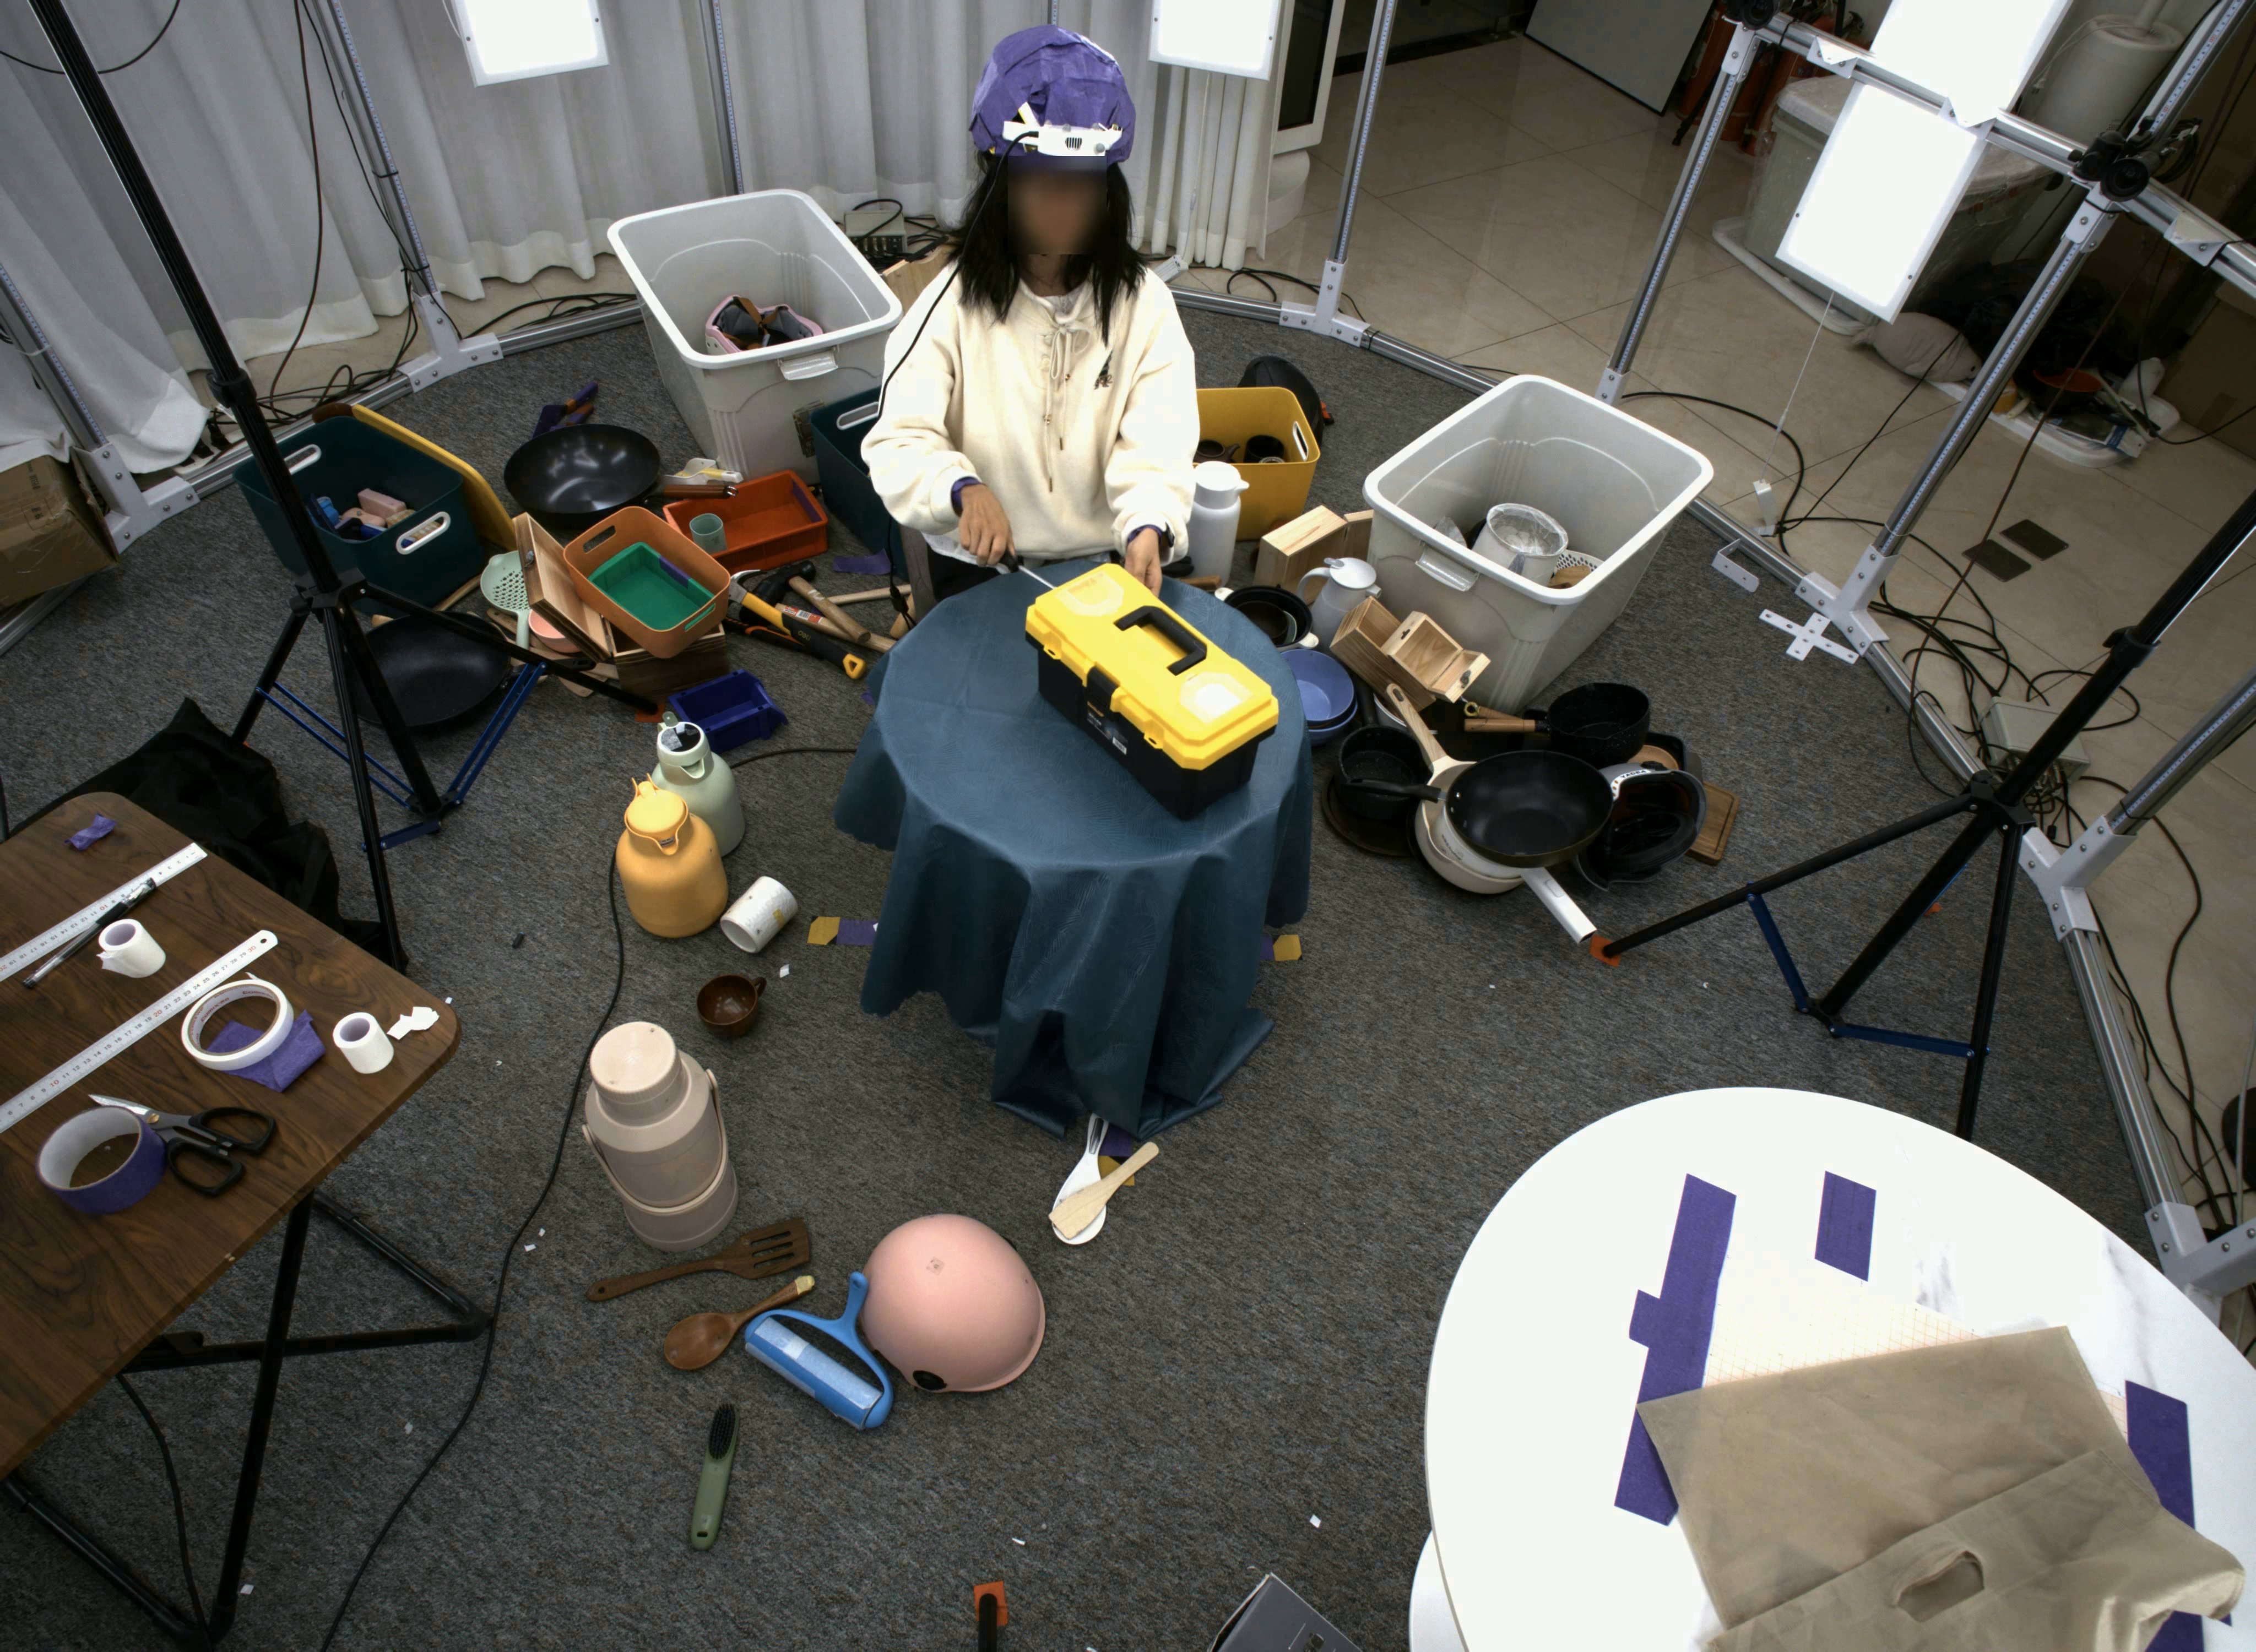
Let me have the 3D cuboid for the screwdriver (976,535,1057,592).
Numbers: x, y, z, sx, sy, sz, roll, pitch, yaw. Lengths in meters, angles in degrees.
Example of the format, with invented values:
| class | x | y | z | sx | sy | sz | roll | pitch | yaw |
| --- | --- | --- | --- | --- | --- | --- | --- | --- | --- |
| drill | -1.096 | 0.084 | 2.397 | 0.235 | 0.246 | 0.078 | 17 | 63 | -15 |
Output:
| class | x | y | z | sx | sy | sz | roll | pitch | yaw |
| --- | --- | --- | --- | --- | --- | --- | --- | --- | --- |
| screwdriver | -0.155 | -0.366 | 1.800 | 0.031 | 0.031 | 0.200 | -26 | 41 | -24 |

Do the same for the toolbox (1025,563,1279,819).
| class | x | y | z | sx | sy | sz | roll | pitch | yaw |
| --- | --- | --- | --- | --- | --- | --- | --- | --- | --- |
| toolbox | 0.024 | -0.182 | 1.717 | 0.182 | 0.168 | 0.357 | -30 | 58 | -27 |
